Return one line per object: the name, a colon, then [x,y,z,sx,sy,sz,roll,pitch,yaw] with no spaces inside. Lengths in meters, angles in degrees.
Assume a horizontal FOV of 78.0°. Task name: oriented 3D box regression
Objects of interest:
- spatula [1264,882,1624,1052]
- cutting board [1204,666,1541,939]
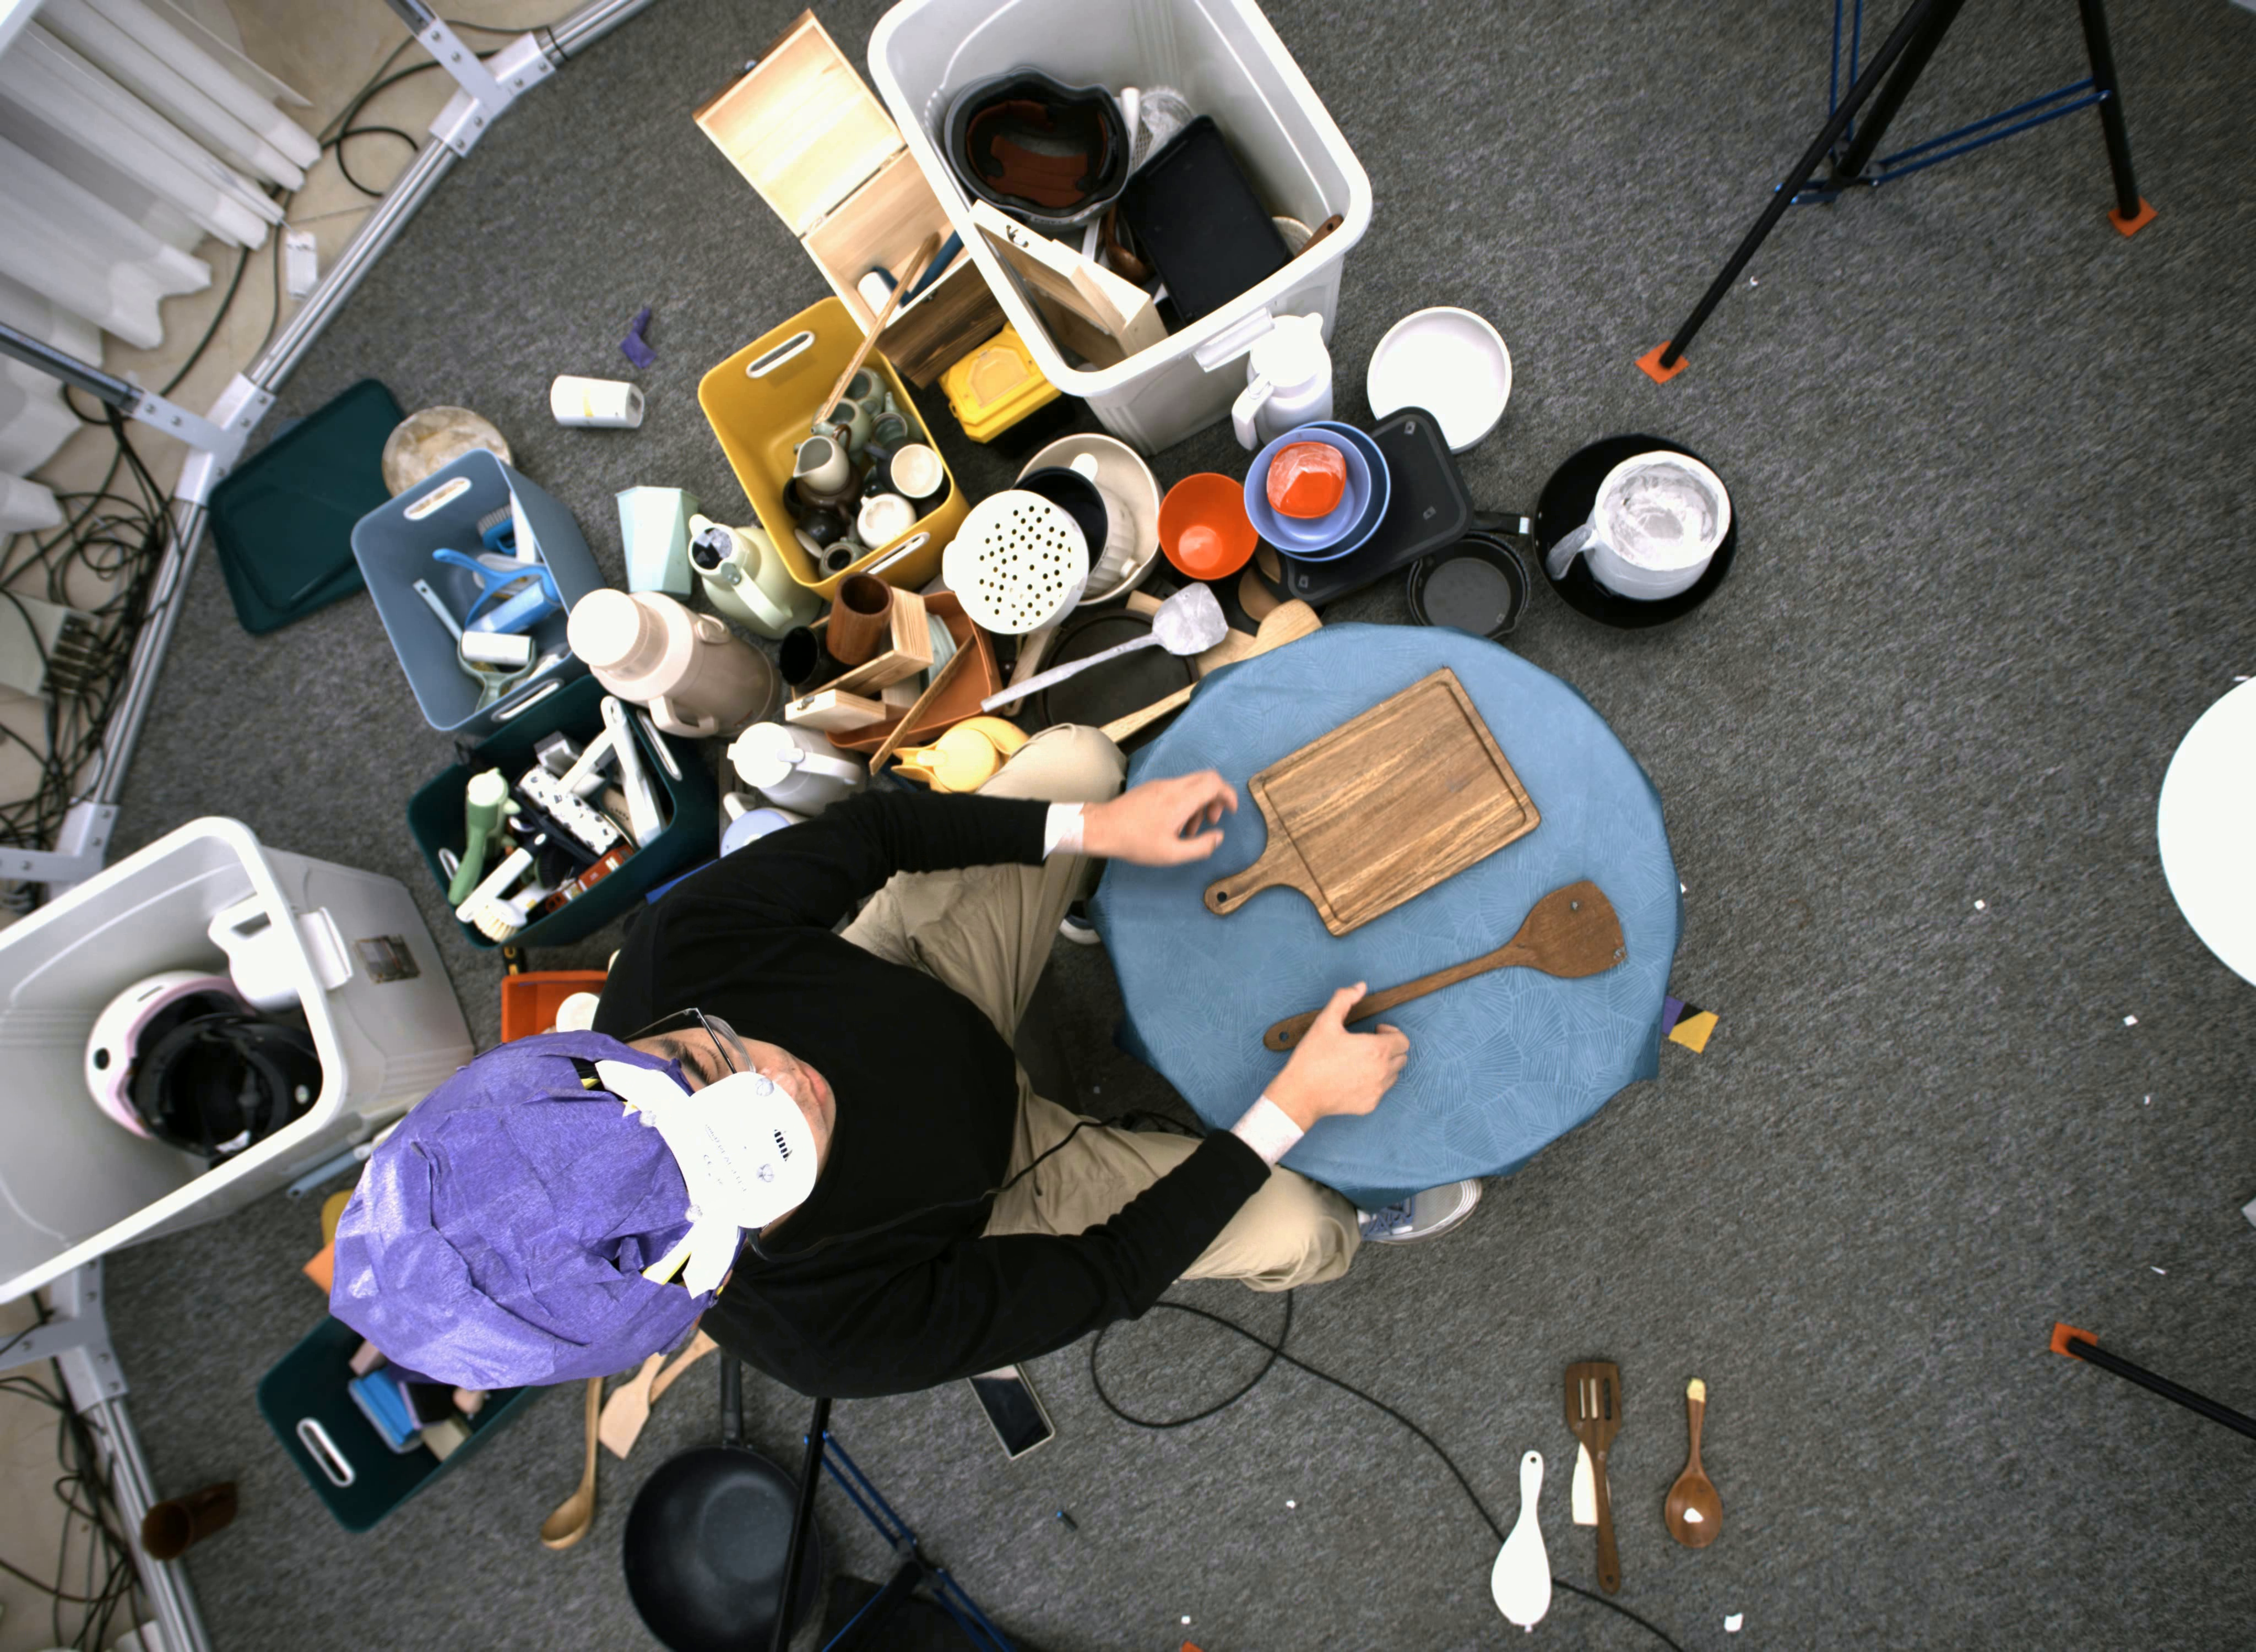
spatula: [0.323,0.161,1.438,0.388,0.016,0.095,-21,83,9]
cutting board: [0.235,-0.002,1.460,0.354,0.023,0.200,-31,82,7]
